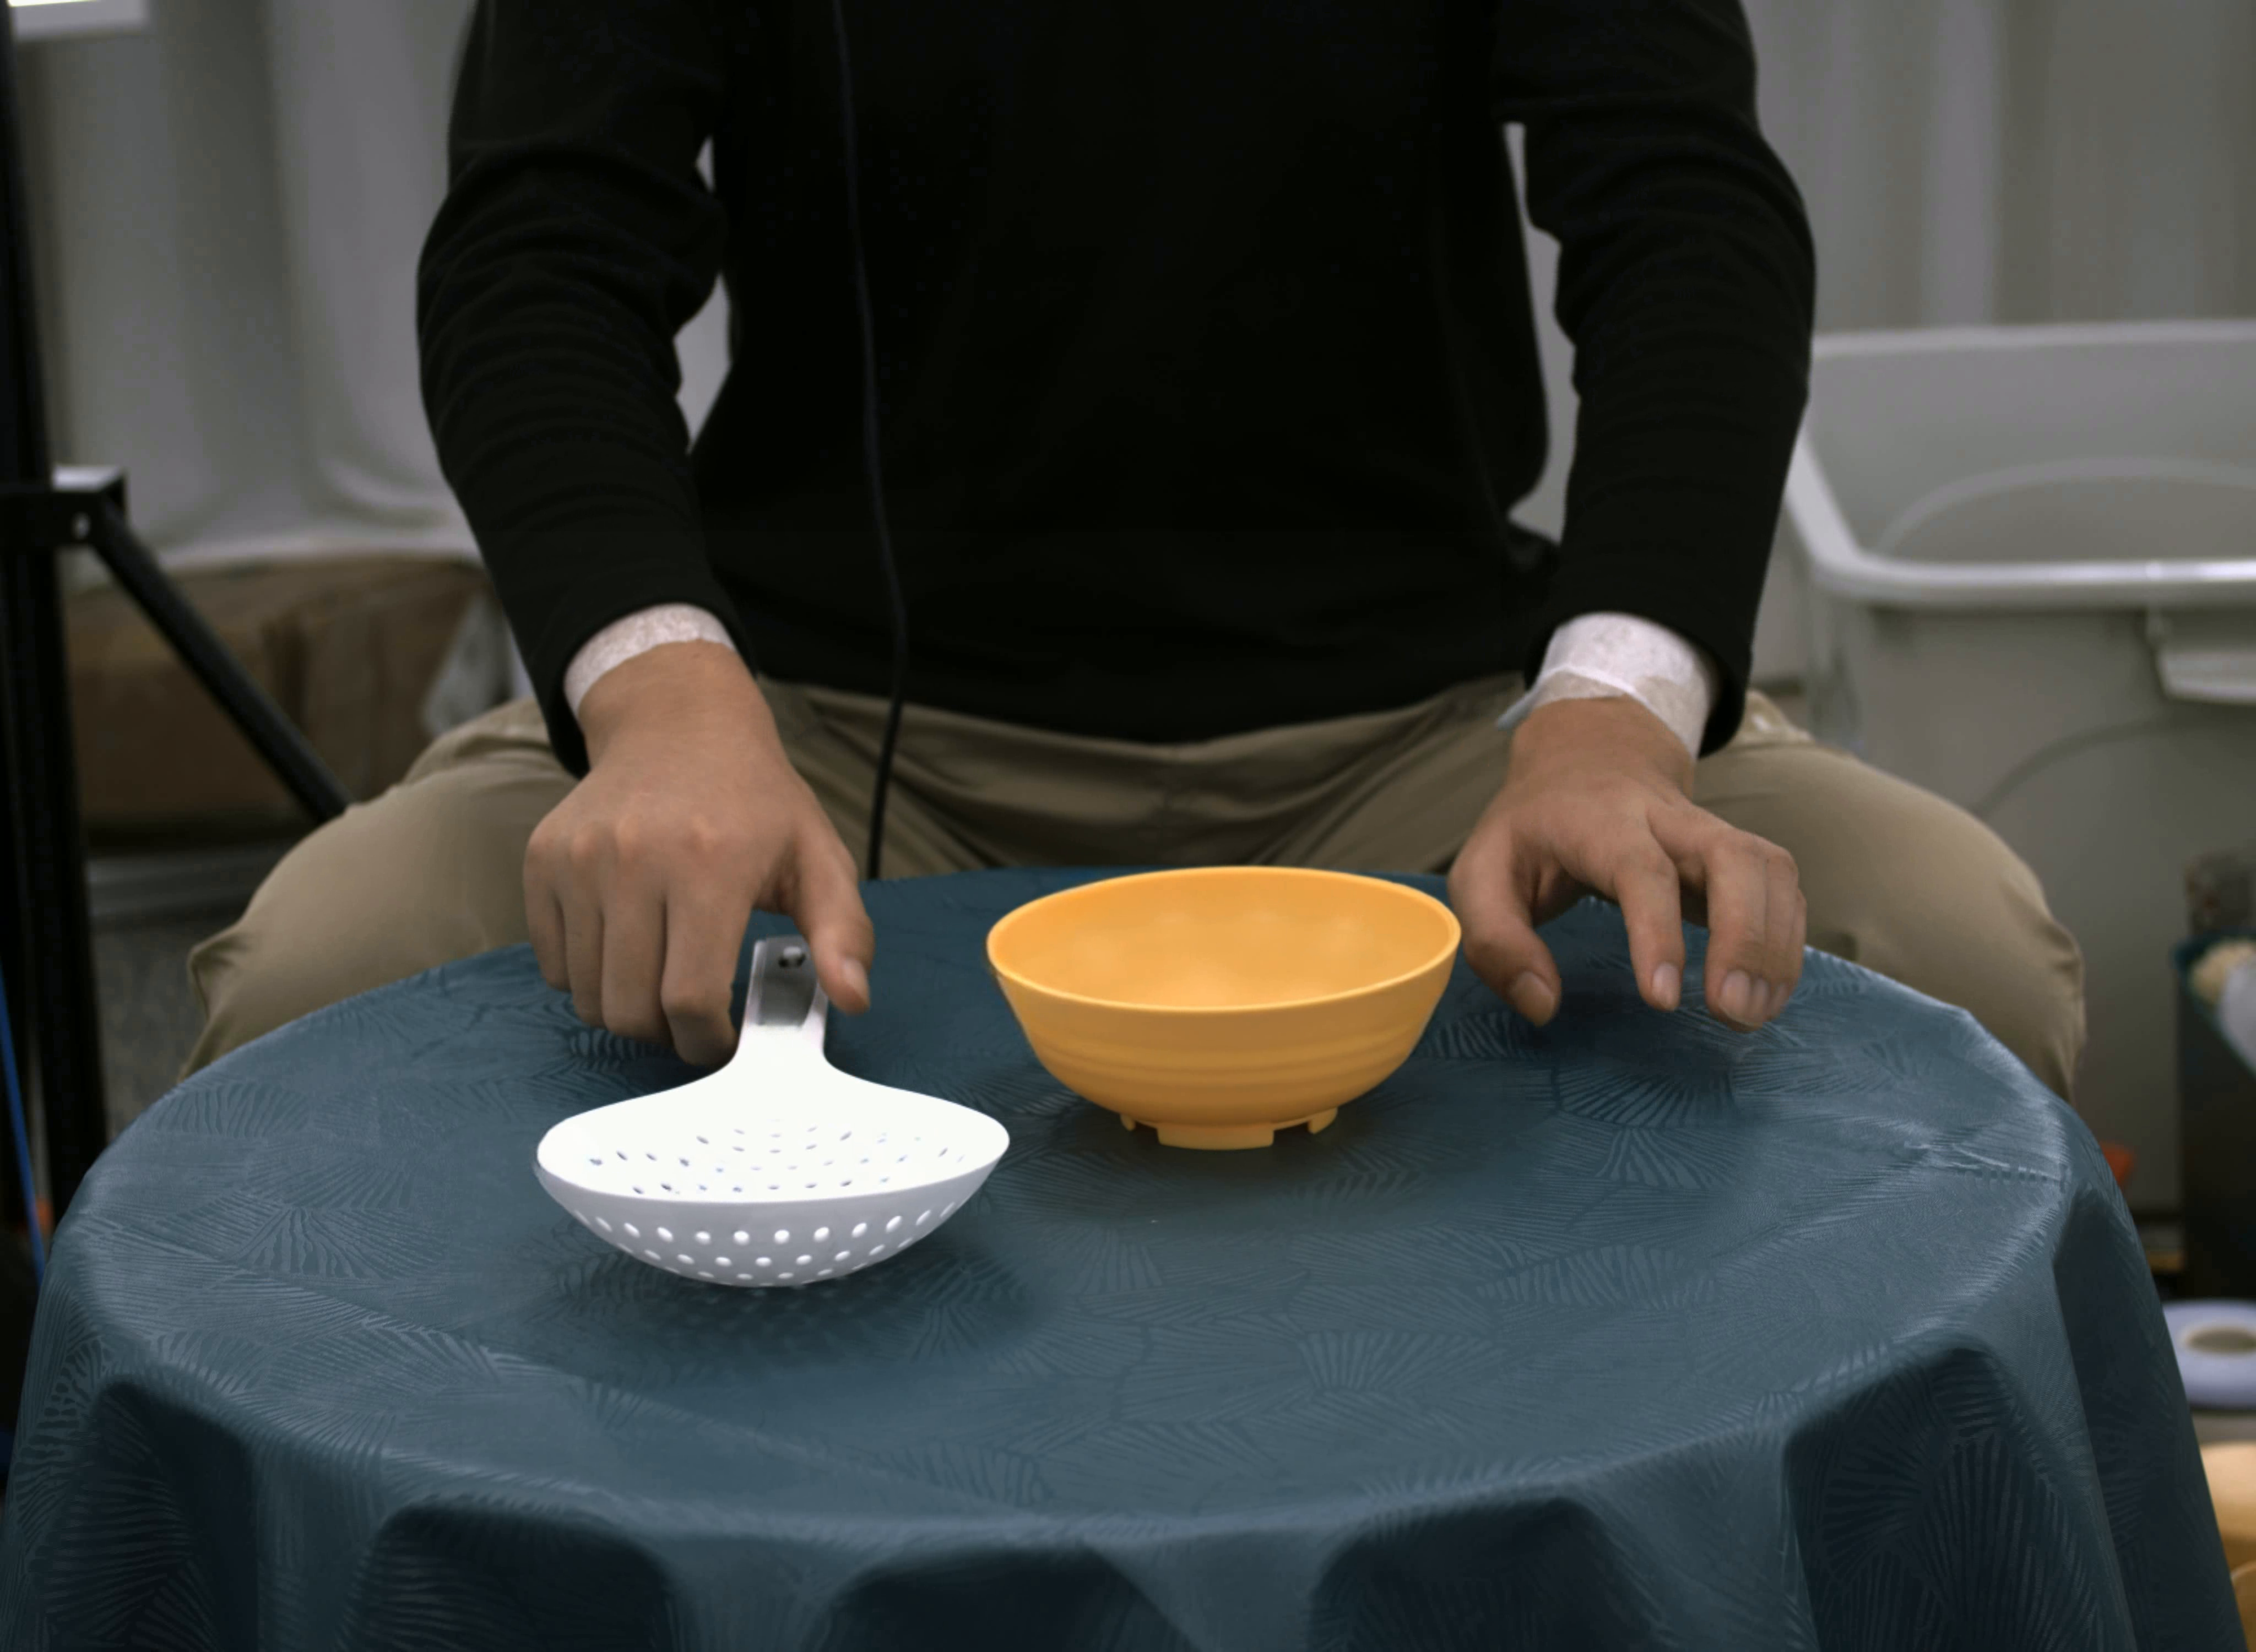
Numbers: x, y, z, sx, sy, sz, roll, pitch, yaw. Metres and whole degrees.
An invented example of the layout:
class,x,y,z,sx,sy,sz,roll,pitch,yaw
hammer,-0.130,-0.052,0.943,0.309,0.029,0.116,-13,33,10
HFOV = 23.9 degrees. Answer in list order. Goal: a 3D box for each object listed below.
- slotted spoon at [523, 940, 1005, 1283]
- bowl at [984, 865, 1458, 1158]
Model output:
class,x,y,z,sx,sy,sz,roll,pitch,yaw
slotted spoon,-0.106,0.076,1.603,0.135,0.046,0.351,-2,15,-2
bowl,0.028,0.062,1.615,0.144,0.060,0.146,-1,17,-1
